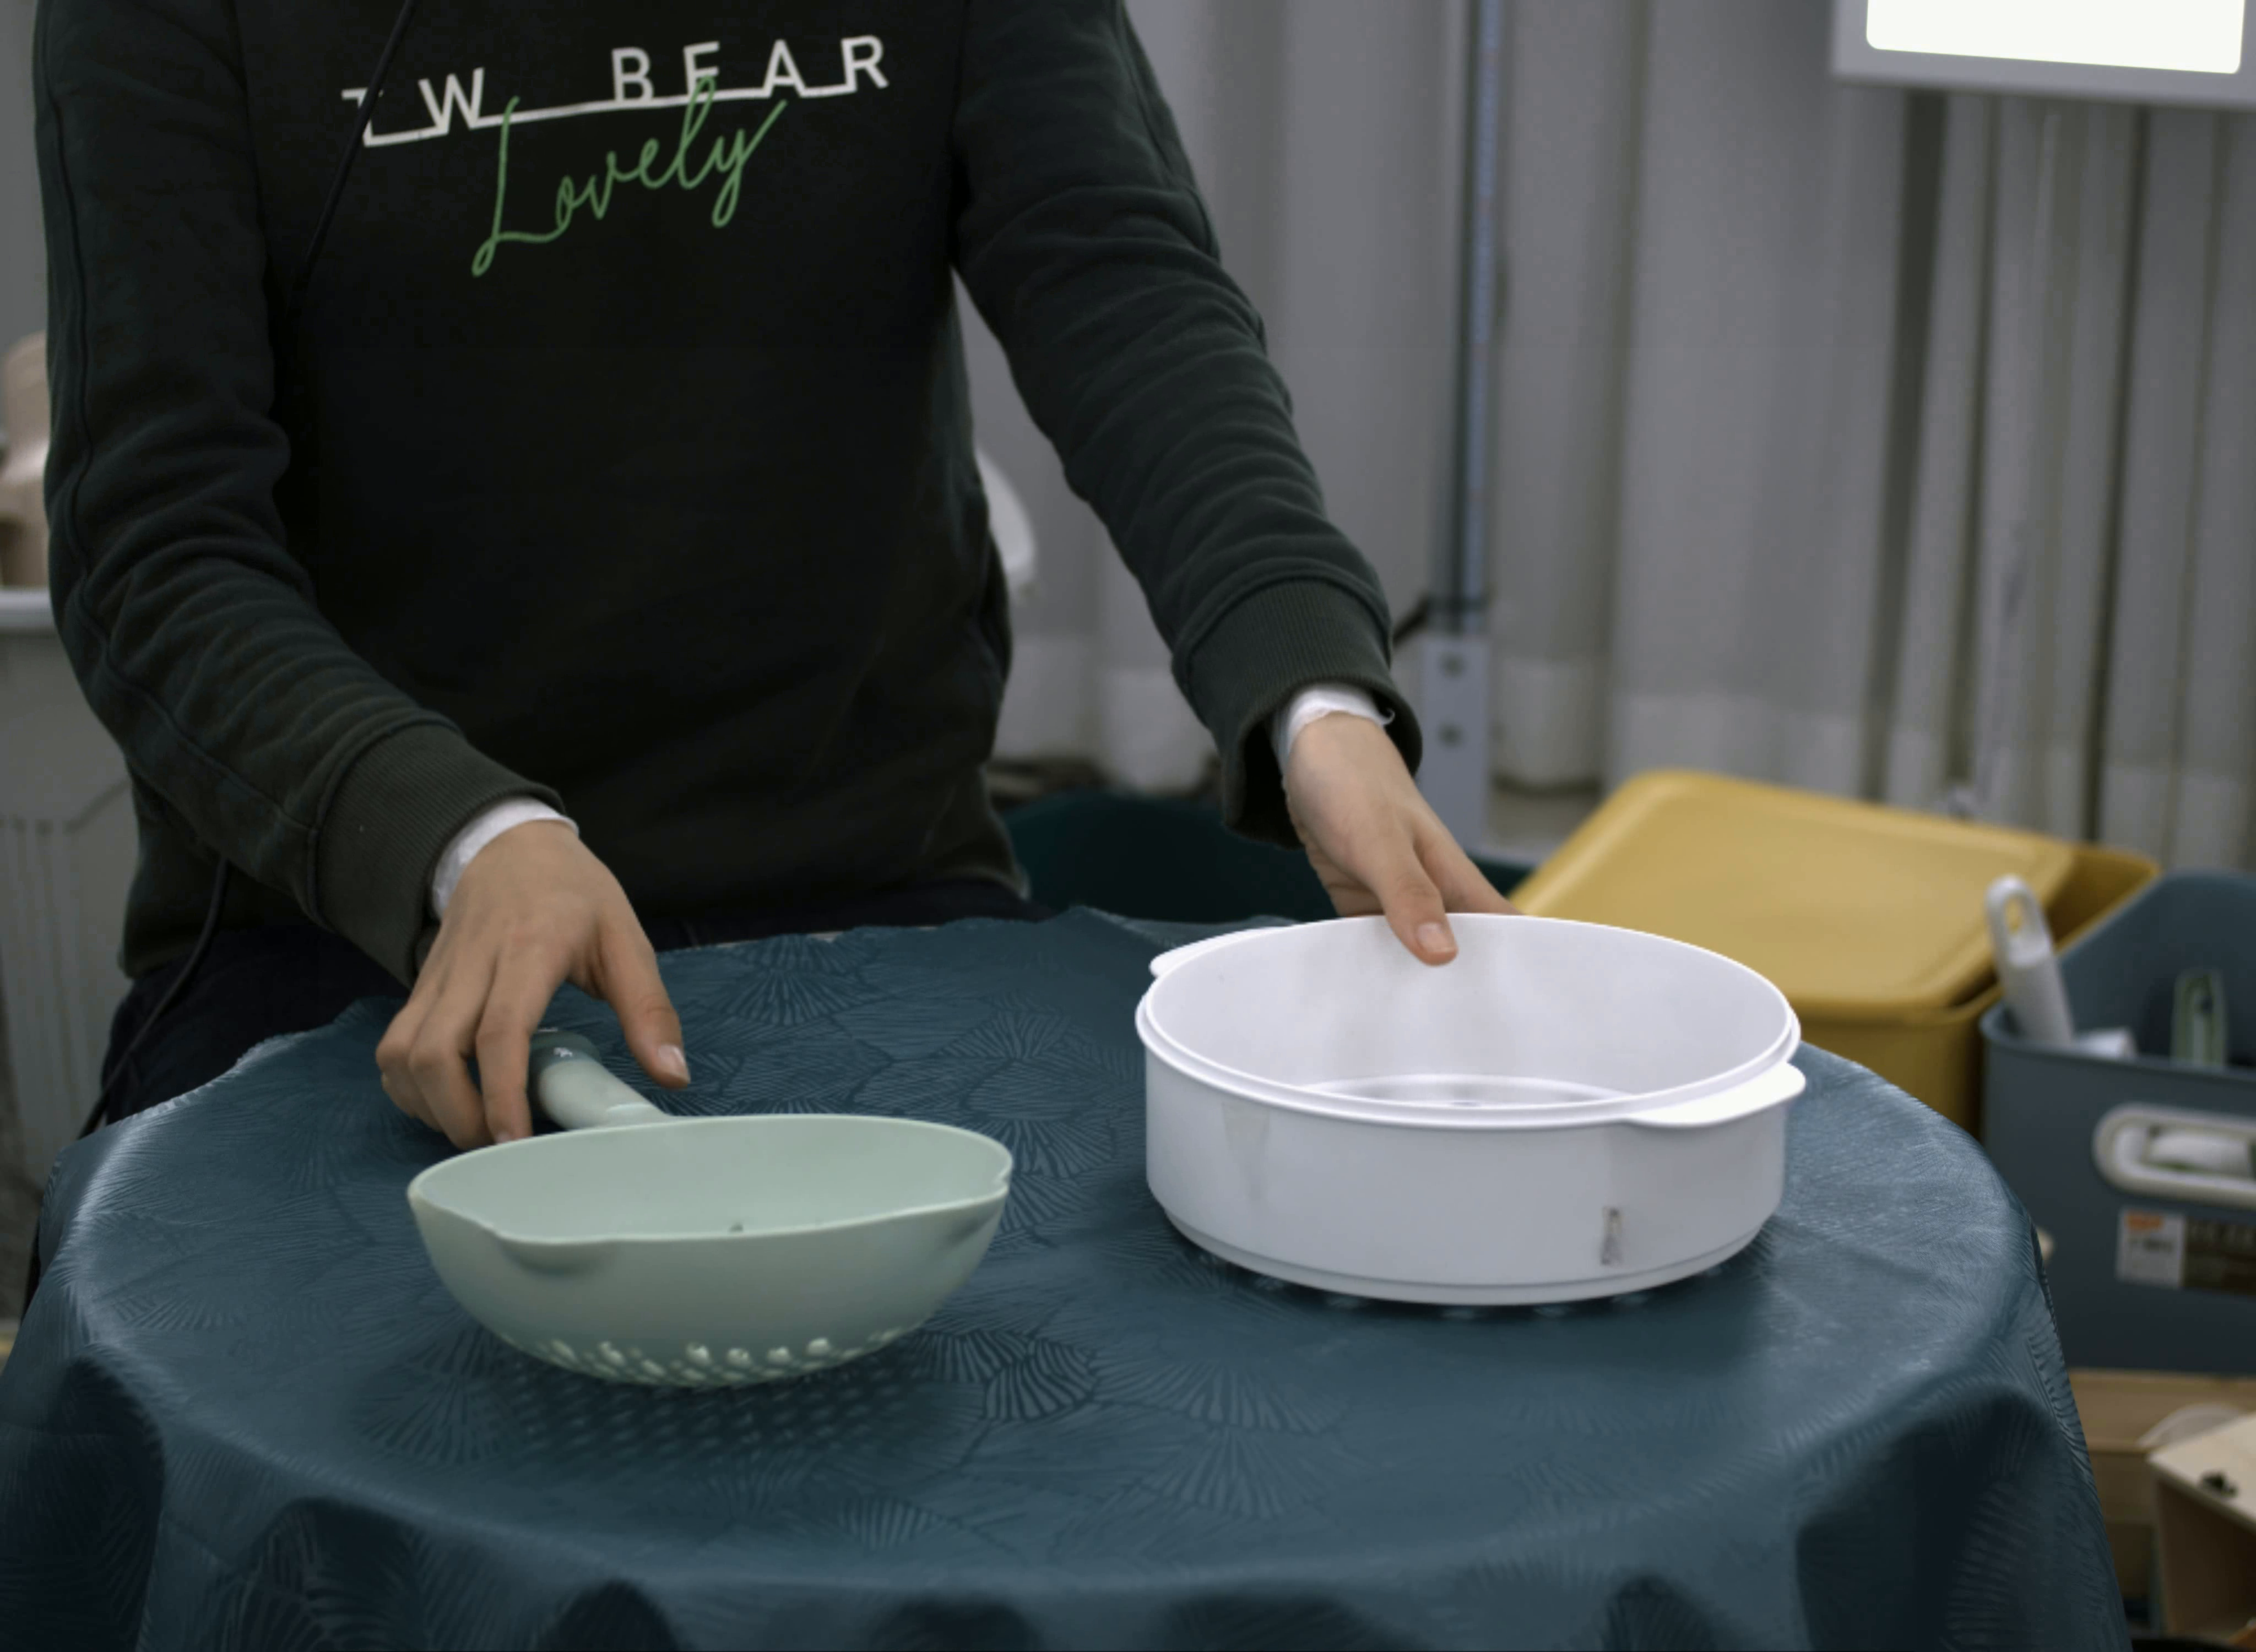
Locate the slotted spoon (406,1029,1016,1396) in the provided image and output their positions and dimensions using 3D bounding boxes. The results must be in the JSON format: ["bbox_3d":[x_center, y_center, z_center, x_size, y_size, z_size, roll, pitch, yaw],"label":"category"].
[{"bbox_3d":[-0.143,0.097,1.556,0.169,0.076,0.355,-4,16,-17],"label":"slotted spoon"}]

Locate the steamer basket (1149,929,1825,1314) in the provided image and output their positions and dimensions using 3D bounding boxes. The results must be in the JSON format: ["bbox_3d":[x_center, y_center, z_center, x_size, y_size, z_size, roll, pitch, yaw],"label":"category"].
[{"bbox_3d":[0.106,0.089,1.597,0.227,0.070,0.203,15,20,42],"label":"steamer basket"}]
